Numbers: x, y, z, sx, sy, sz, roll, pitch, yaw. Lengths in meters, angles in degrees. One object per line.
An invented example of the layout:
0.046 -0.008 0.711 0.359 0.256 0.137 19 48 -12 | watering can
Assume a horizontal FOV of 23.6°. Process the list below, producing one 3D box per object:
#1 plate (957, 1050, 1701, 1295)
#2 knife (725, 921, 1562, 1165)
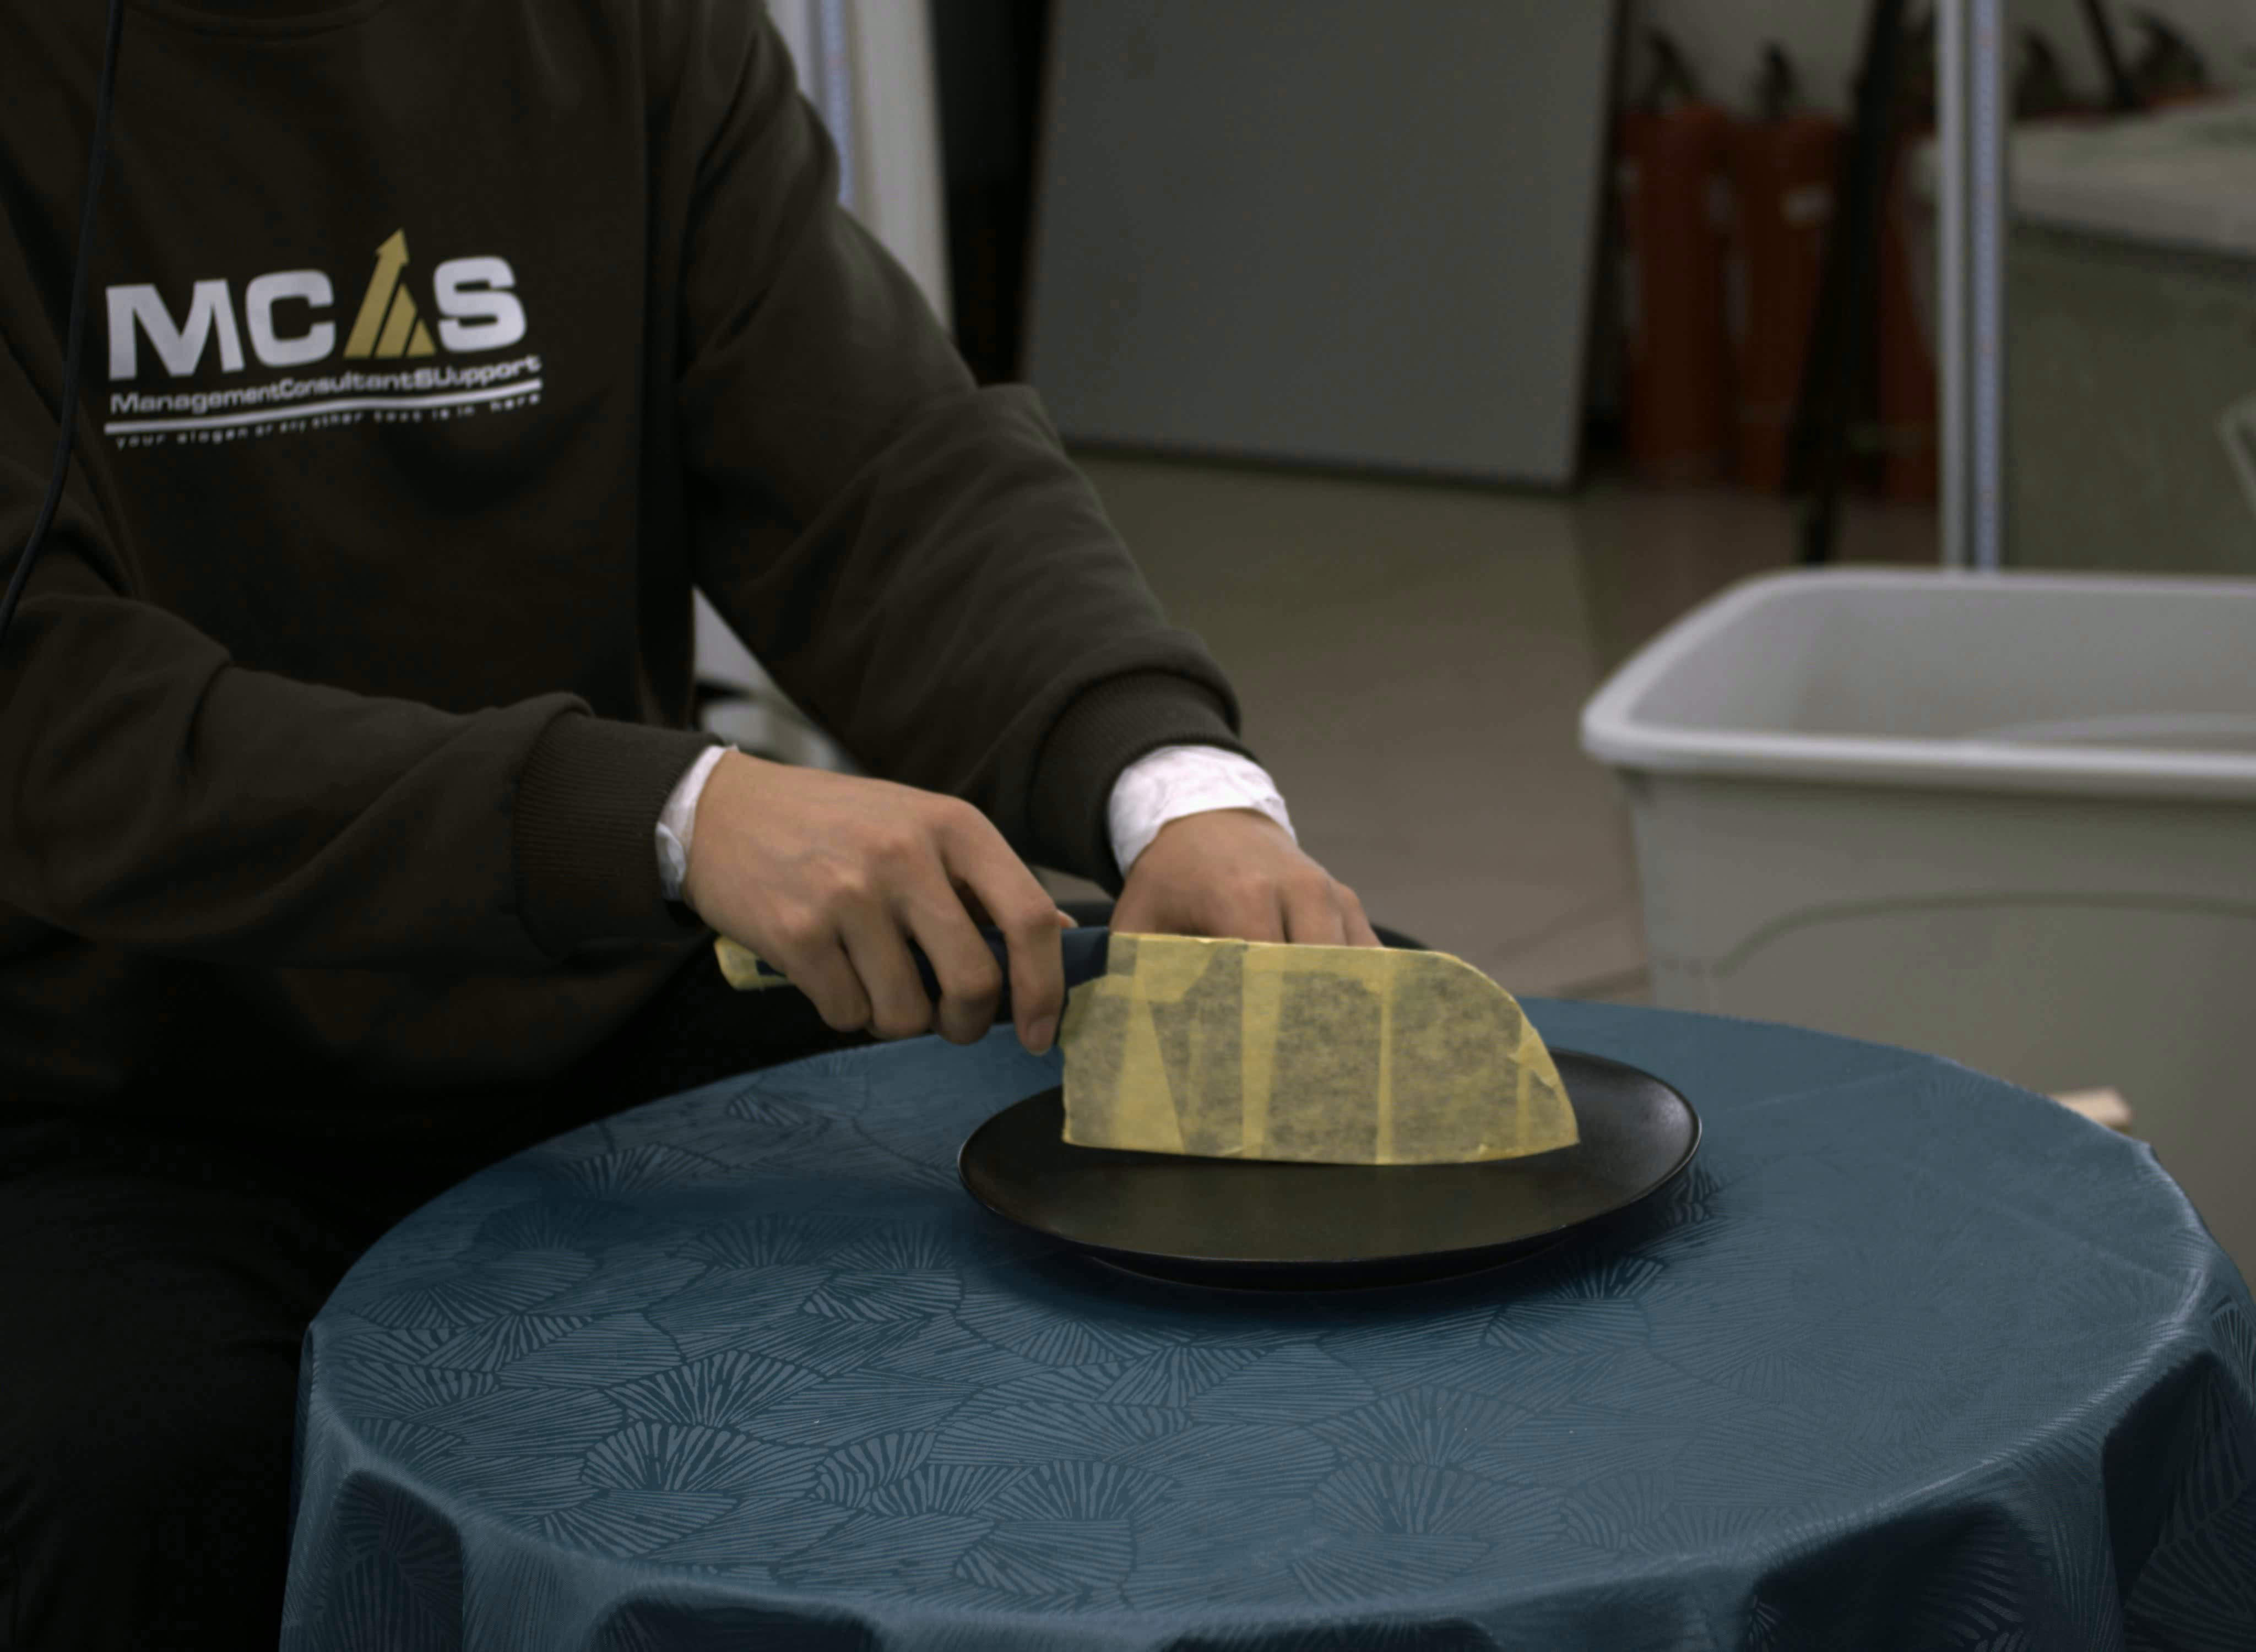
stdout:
0.066 0.112 1.743 0.241 0.024 0.245 -4 13 0 | plate
0.003 0.069 1.773 0.288 0.082 0.027 6 4 16 | knife
